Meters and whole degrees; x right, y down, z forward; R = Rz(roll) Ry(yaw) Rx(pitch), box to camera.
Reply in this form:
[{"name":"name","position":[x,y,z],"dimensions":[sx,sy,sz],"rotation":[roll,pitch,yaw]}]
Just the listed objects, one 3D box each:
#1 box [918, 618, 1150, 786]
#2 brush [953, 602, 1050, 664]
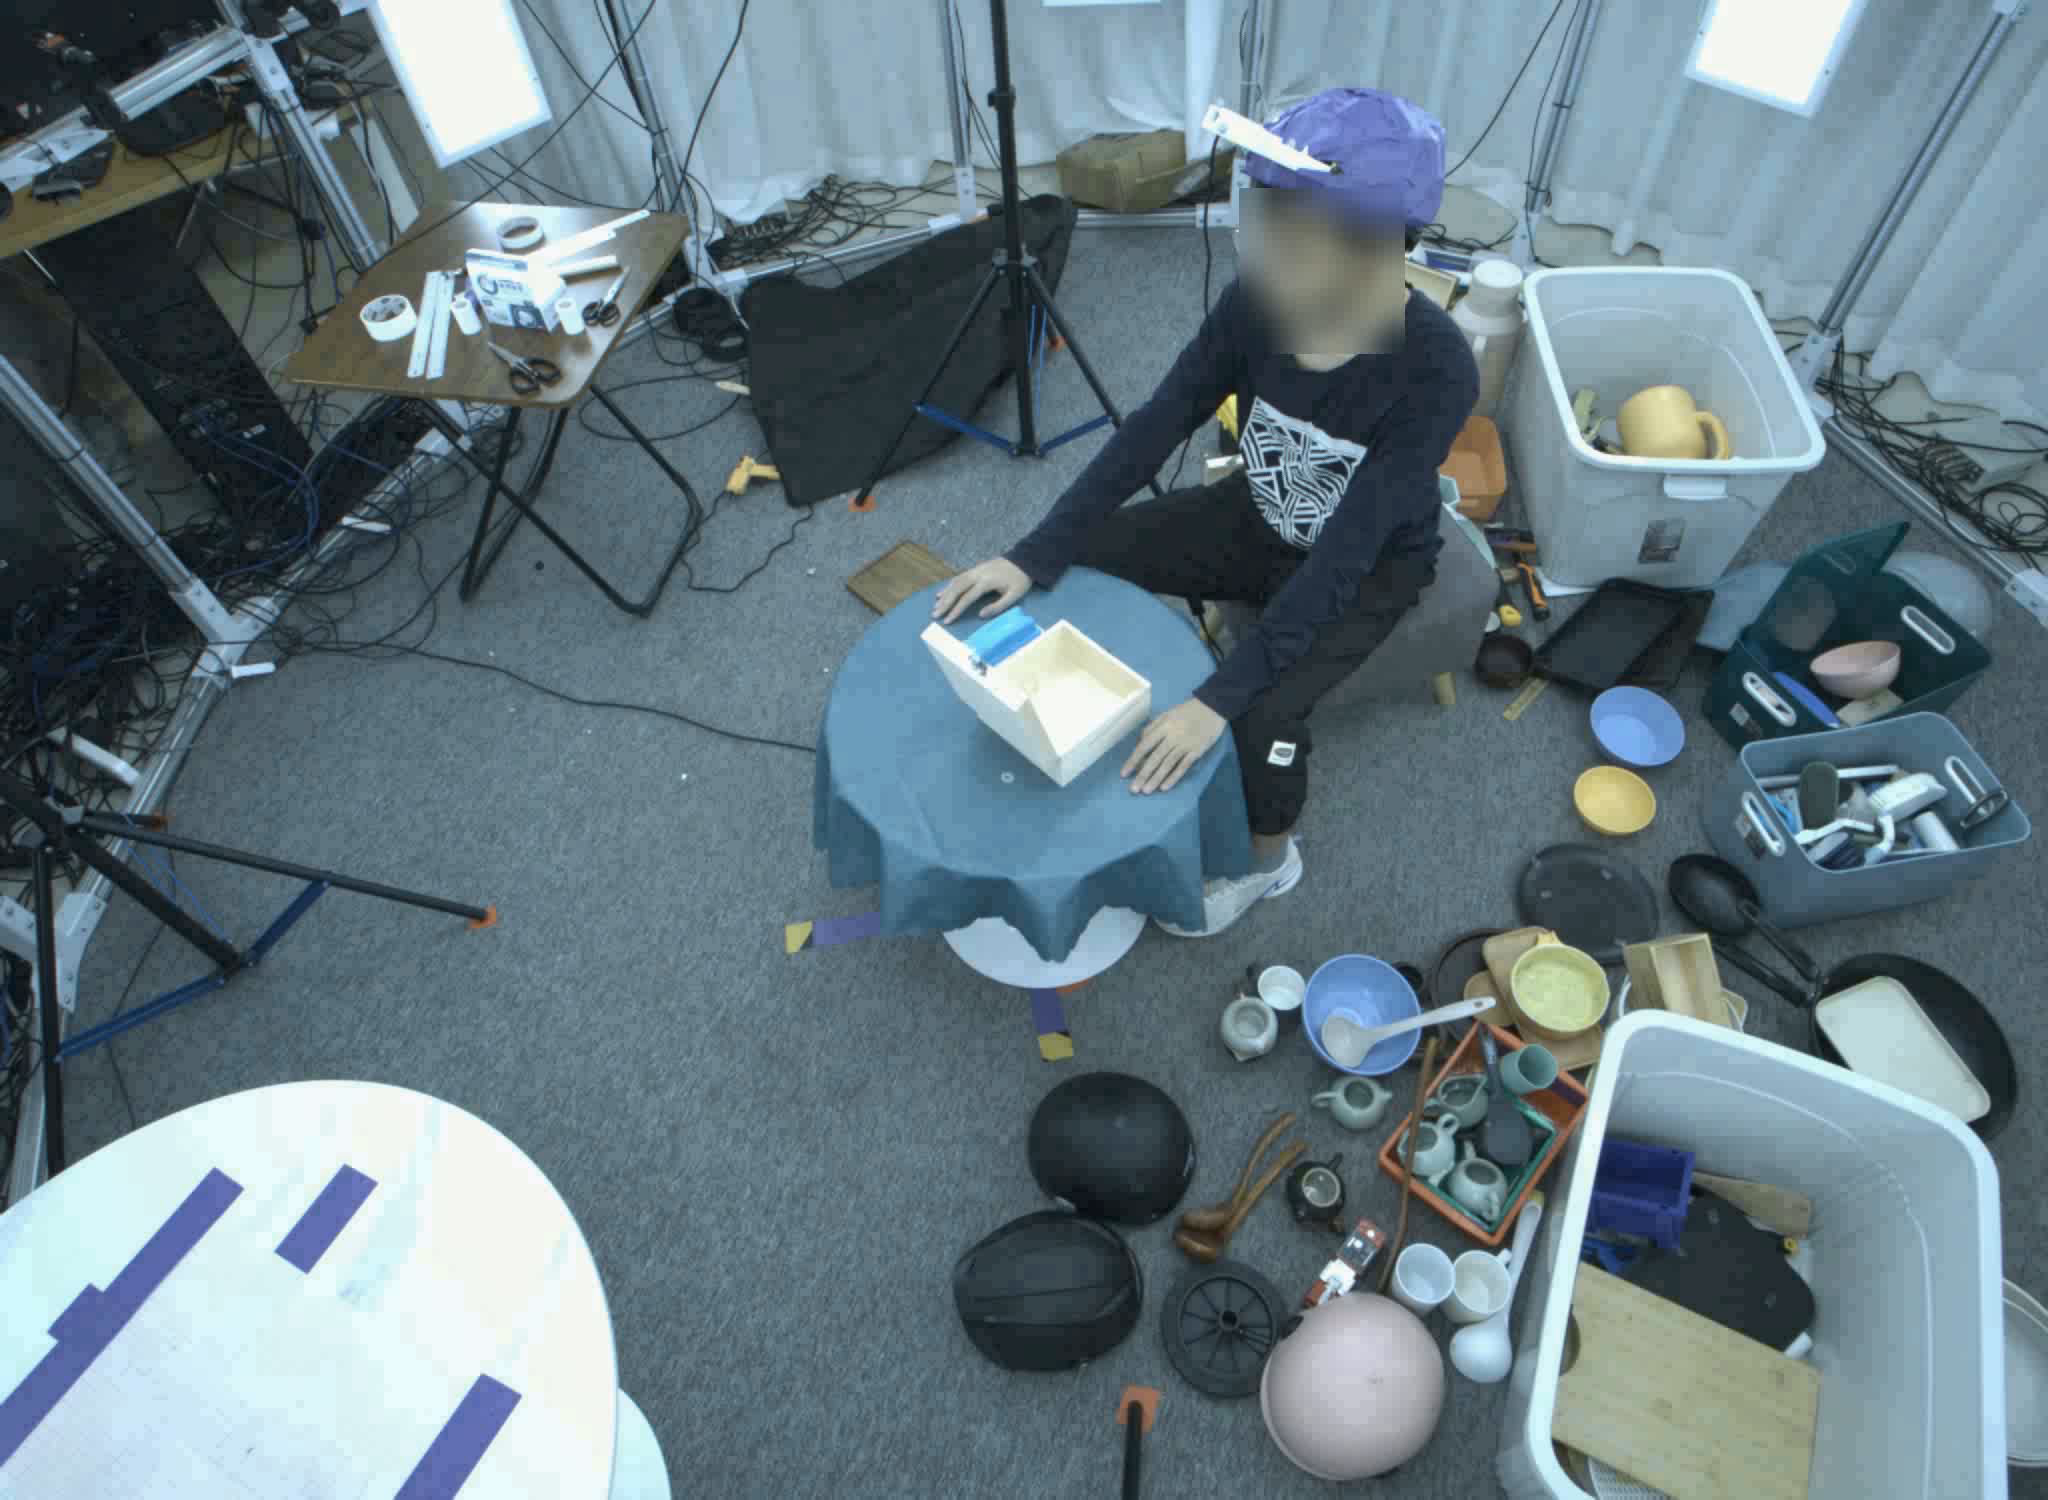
[{"name":"box","position":[0.025,-0.104,1.698],"dimensions":[0.267,0.256,0.178],"rotation":[-40,62,-22]},{"name":"brush","position":[-0.034,-0.177,1.870],"dimensions":[0.145,0.056,0.082],"rotation":[-35,64,-18]}]
